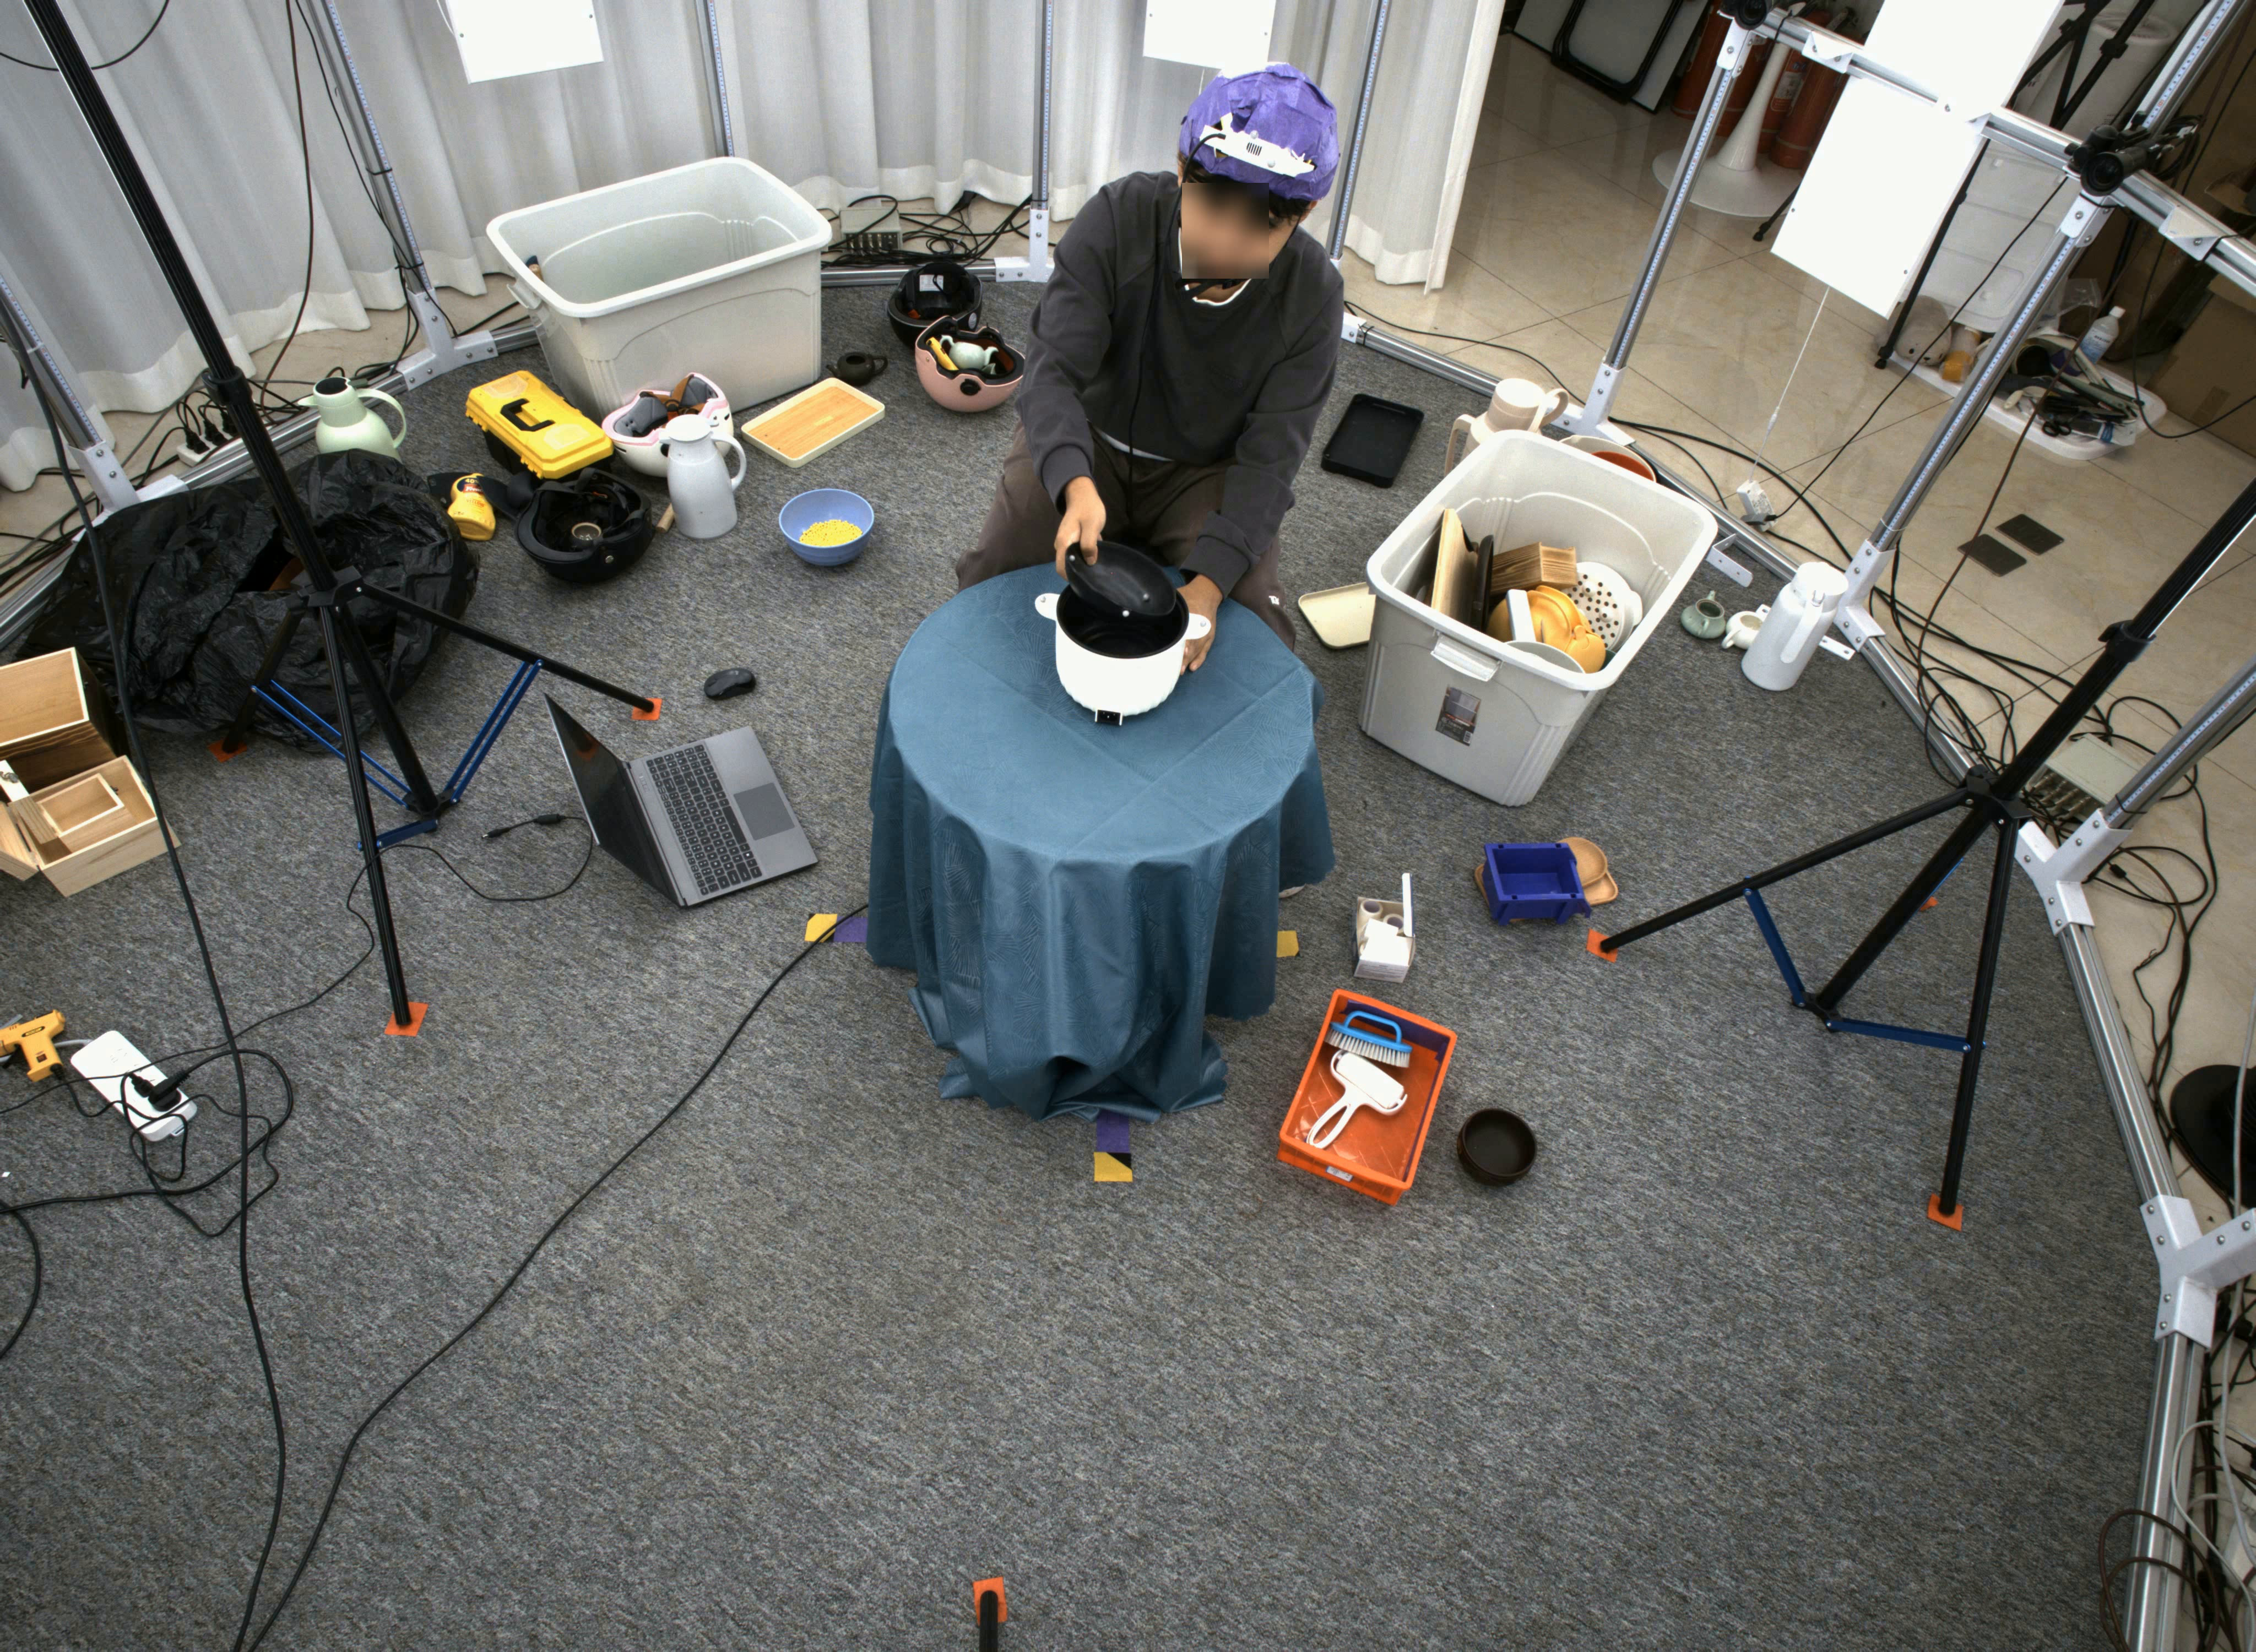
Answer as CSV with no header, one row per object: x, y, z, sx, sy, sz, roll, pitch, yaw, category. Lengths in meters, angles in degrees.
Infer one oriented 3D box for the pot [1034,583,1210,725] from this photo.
-0.012,-0.253,1.795,0.240,0.139,0.195,8,52,1,pot

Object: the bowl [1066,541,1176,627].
-0.019,-0.316,1.730,0.172,0.065,0.138,41,40,17,bowl
